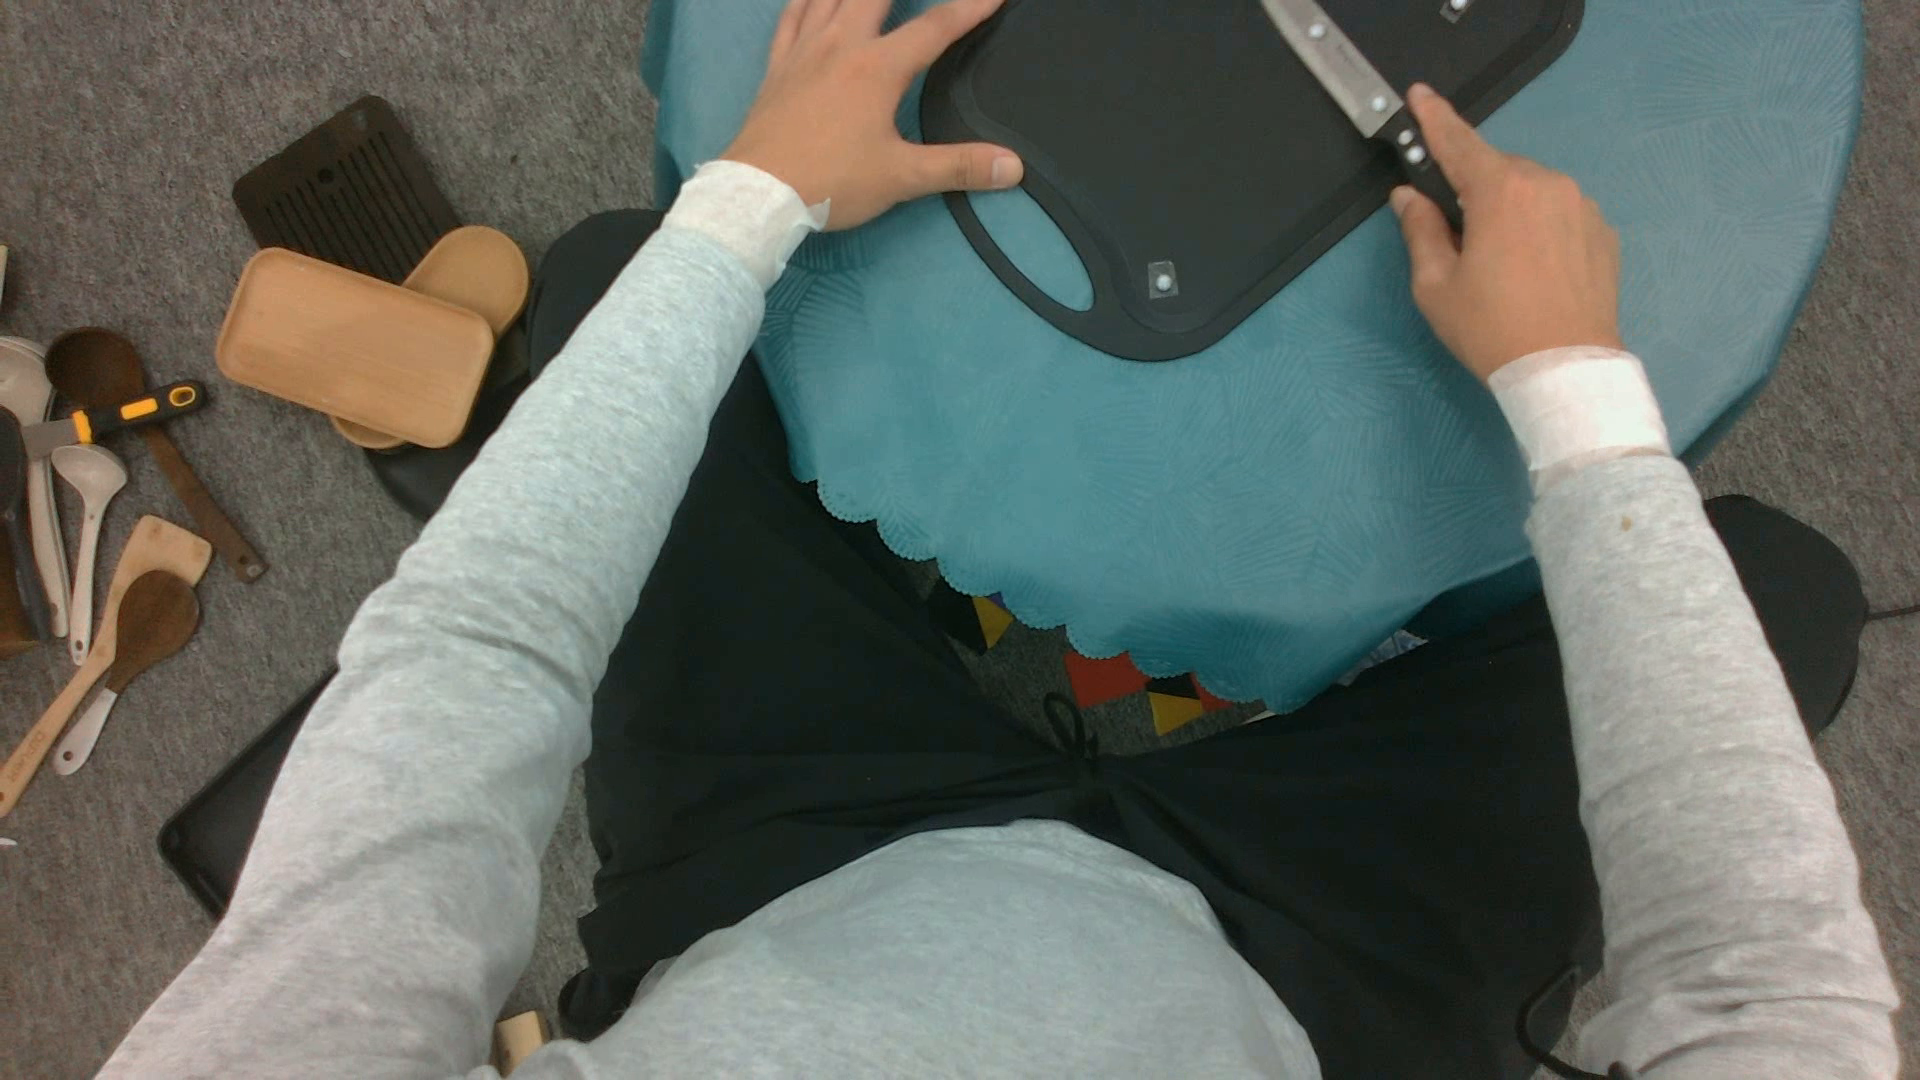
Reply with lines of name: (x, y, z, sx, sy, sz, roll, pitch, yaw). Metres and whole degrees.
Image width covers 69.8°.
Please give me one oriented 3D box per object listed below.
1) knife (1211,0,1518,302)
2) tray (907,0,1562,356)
knife: (0.192, -0.210, 0.679, 0.024, 0.016, 0.238, -44, 75, 22)
tray: (0.133, -0.246, 0.700, 0.325, 0.010, 0.211, -40, 84, 0)
